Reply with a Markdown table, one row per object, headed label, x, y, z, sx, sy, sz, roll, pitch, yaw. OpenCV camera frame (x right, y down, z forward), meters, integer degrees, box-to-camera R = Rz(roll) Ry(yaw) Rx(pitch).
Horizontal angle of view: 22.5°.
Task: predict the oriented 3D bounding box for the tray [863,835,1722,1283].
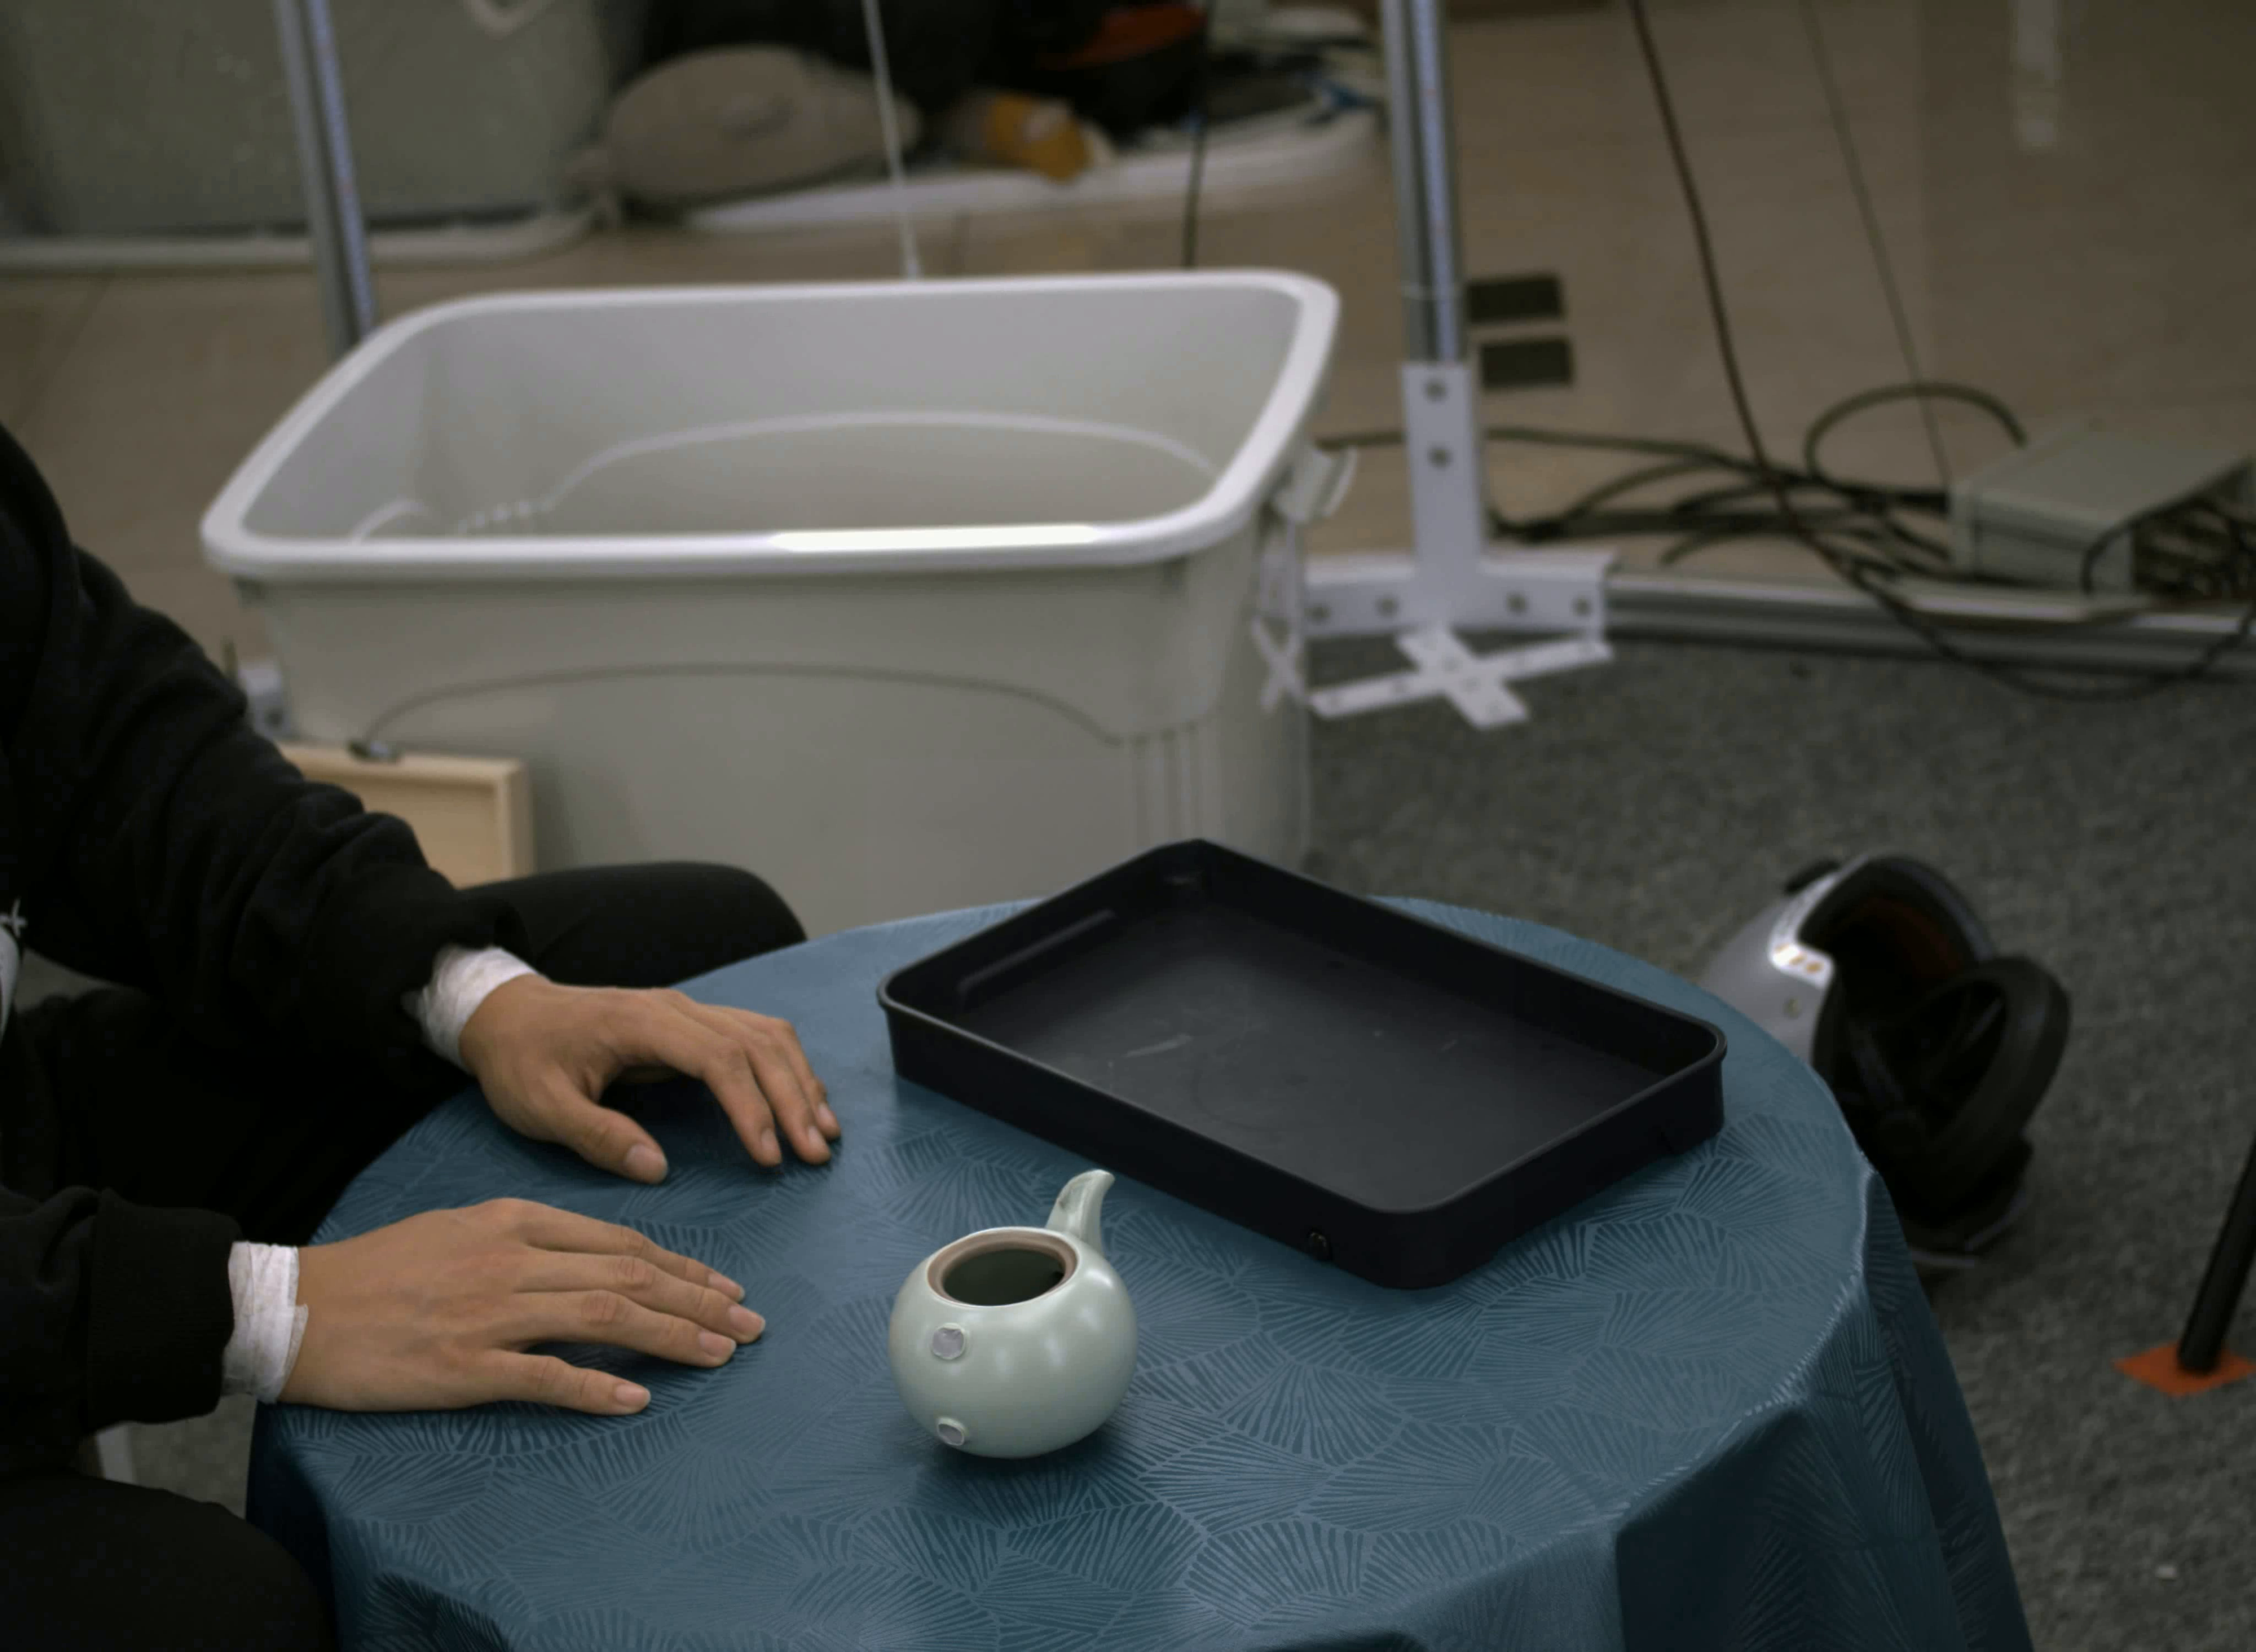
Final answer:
| label | x | y | z | sx | sy | sz | roll | pitch | yaw |
| --- | --- | --- | --- | --- | --- | --- | --- | --- | --- |
| tray | 0.061 | 0.086 | 2.207 | 0.183 | 0.037 | 0.315 | -27 | 32 | -36 |

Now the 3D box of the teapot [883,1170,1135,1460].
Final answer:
| label | x | y | z | sx | sy | sz | roll | pitch | yaw |
| --- | --- | --- | --- | --- | --- | --- | --- | --- | --- |
| teapot | -0.042 | 0.180 | 1.985 | 0.088 | 0.076 | 0.142 | 10 | 28 | 31 |
